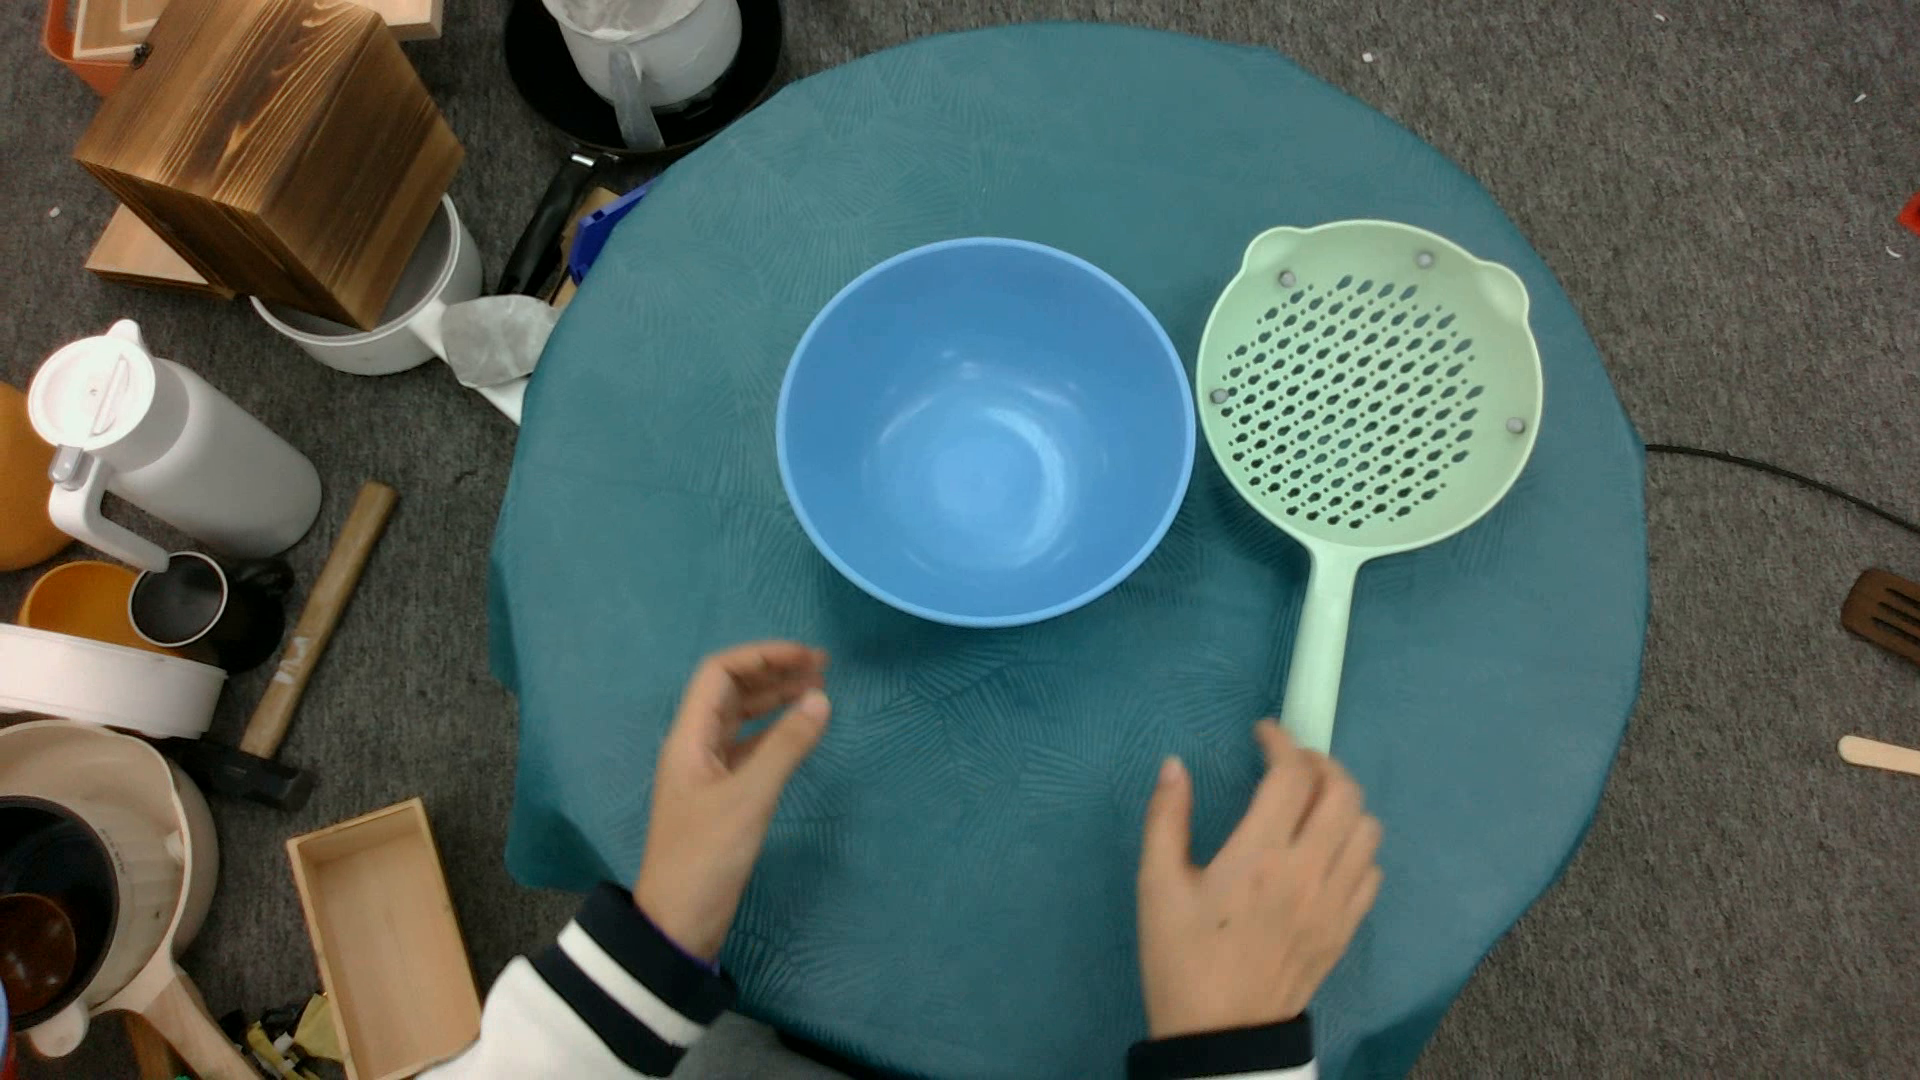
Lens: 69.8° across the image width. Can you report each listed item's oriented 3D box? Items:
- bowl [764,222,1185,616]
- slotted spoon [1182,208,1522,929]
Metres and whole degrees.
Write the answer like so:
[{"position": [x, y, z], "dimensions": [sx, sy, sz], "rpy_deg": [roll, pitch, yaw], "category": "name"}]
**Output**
[{"position": [0.007, -0.048, 0.684], "dimensions": [0.196, 0.095, 0.197], "rpy_deg": [0, 73, -1], "category": "bowl"}, {"position": [0.176, 0.012, 0.686], "dimensions": [0.169, 0.075, 0.360], "rpy_deg": [11, 75, 4], "category": "slotted spoon"}]
